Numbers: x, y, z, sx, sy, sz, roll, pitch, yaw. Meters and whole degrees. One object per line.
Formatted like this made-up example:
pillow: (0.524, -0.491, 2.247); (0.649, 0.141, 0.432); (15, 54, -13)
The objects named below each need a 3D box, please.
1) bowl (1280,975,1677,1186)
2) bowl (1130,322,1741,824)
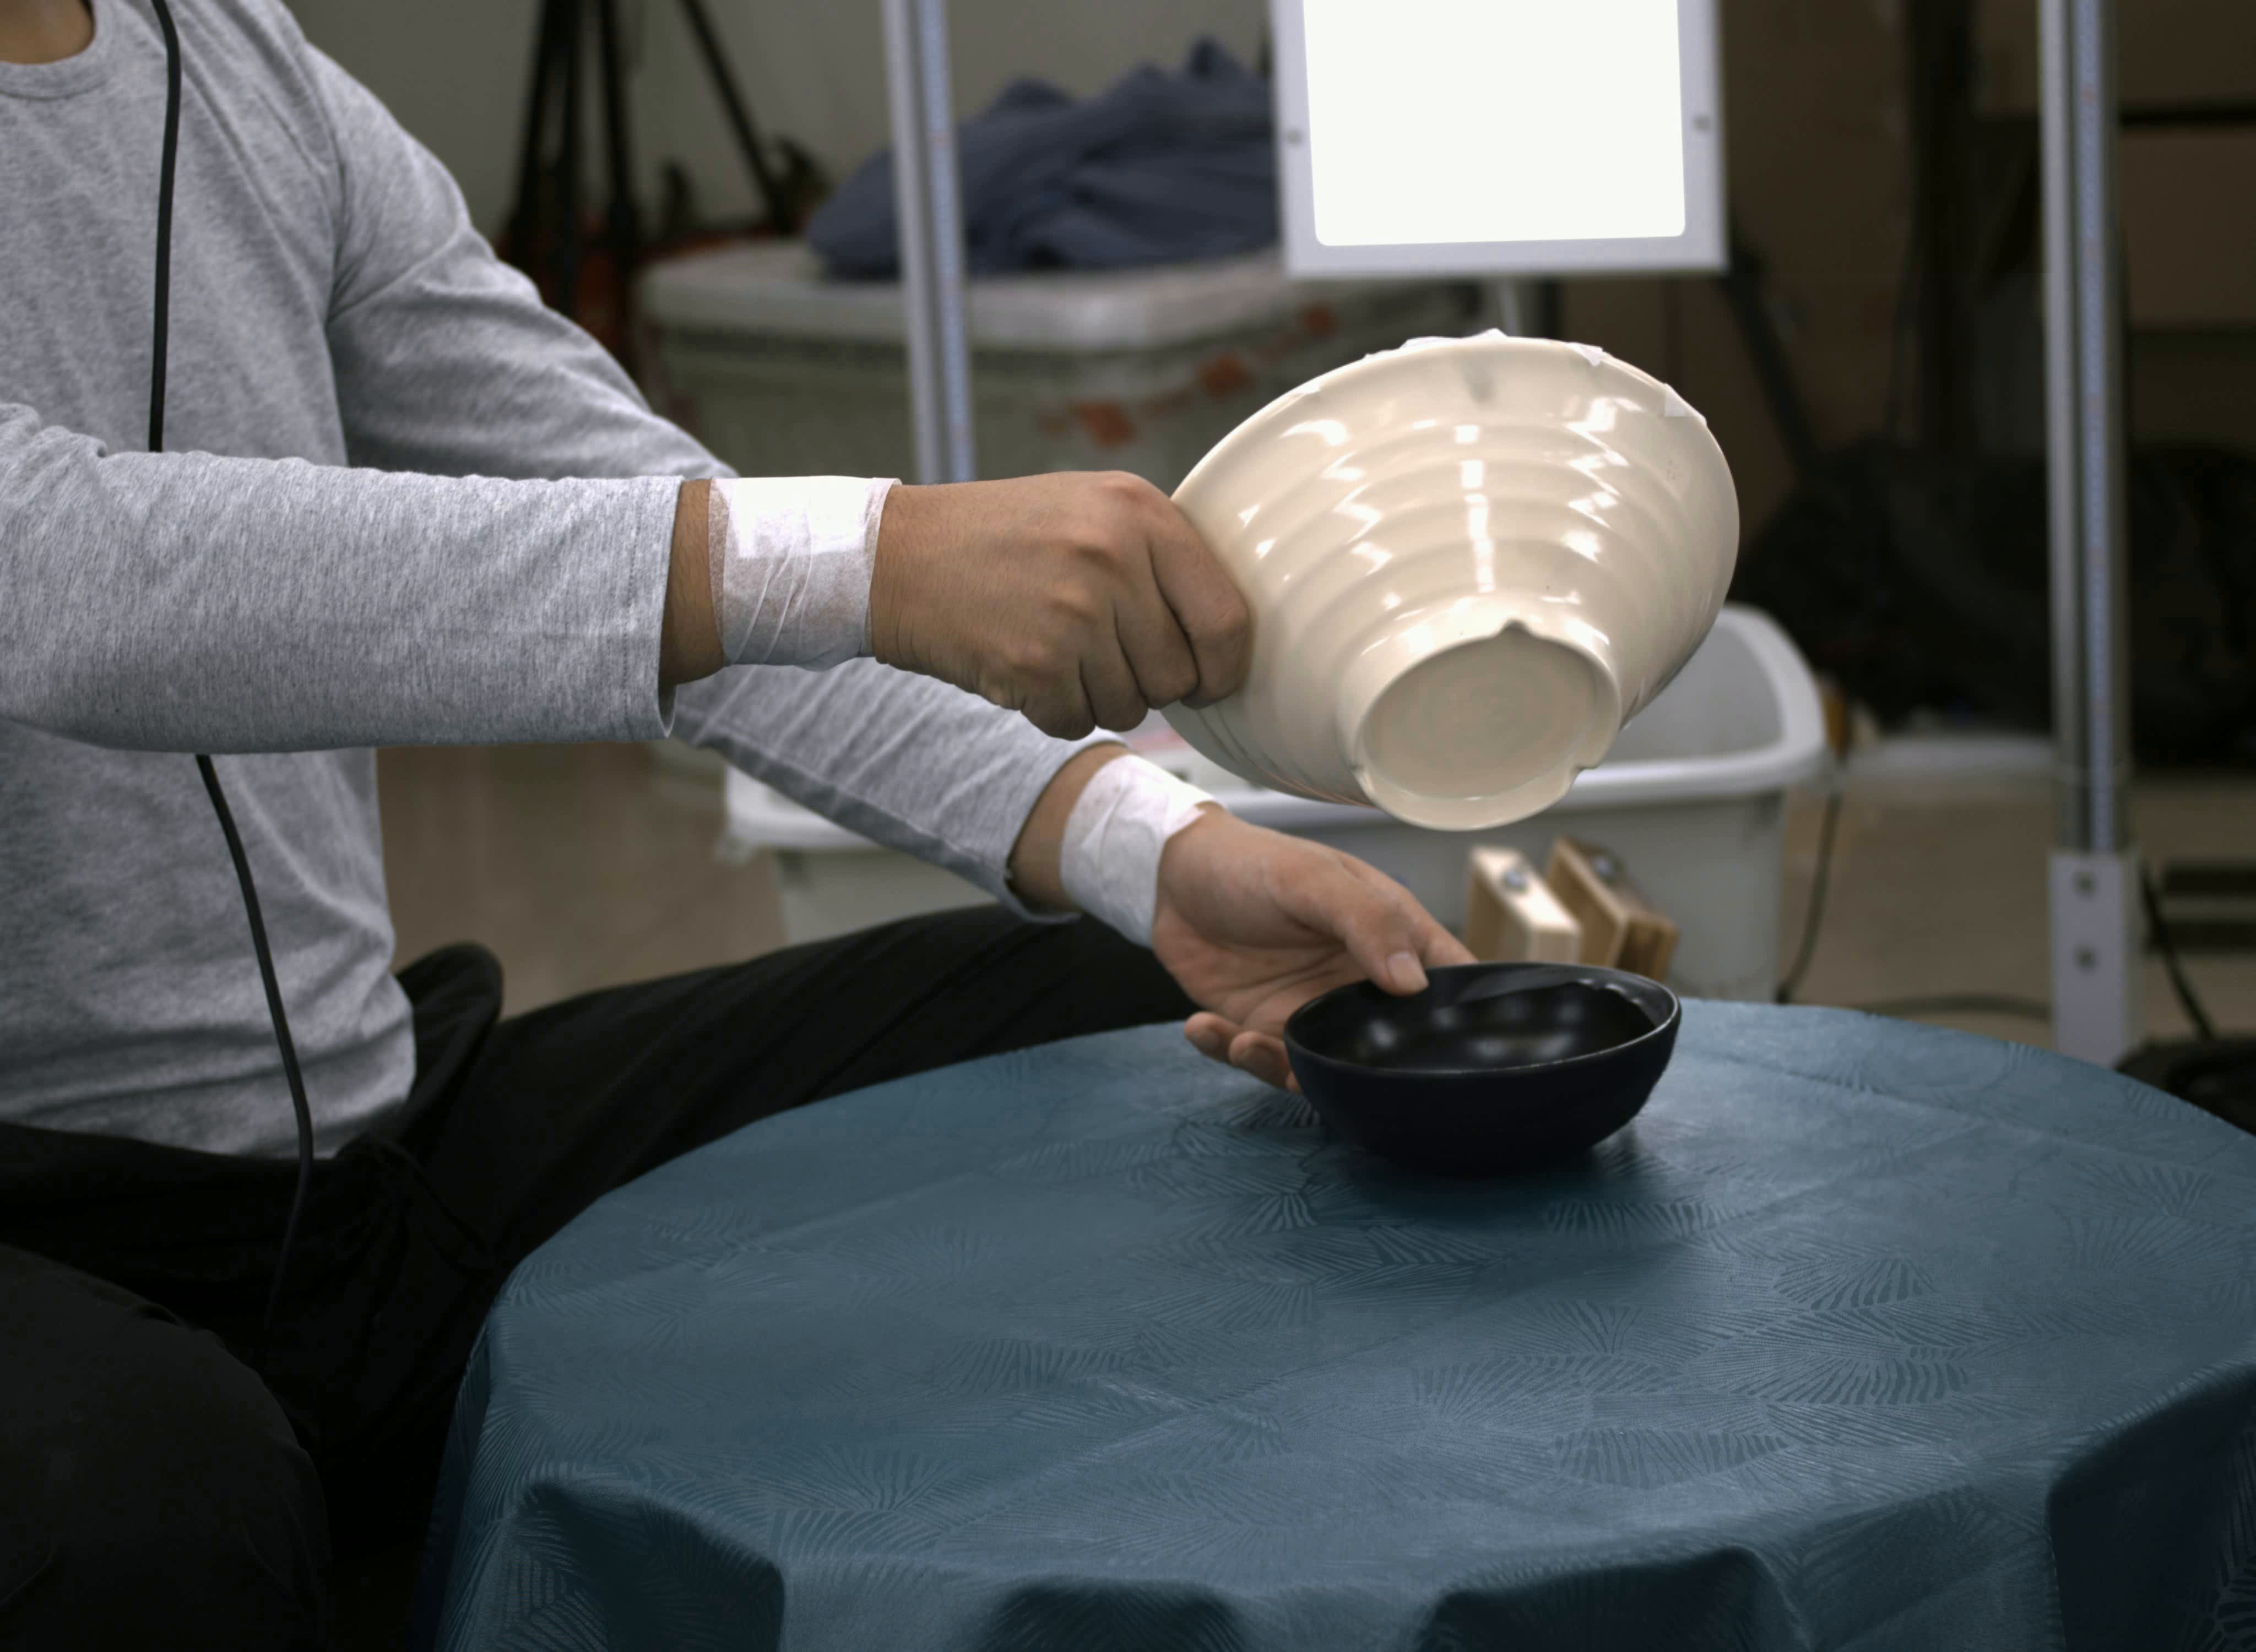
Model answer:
bowl: (0.125, 0.092, 1.910); (0.140, 0.050, 0.140); (-8, 10, 0)
bowl: (0.107, -0.058, 1.755); (0.202, 0.205, 0.078); (-6, 45, -7)
